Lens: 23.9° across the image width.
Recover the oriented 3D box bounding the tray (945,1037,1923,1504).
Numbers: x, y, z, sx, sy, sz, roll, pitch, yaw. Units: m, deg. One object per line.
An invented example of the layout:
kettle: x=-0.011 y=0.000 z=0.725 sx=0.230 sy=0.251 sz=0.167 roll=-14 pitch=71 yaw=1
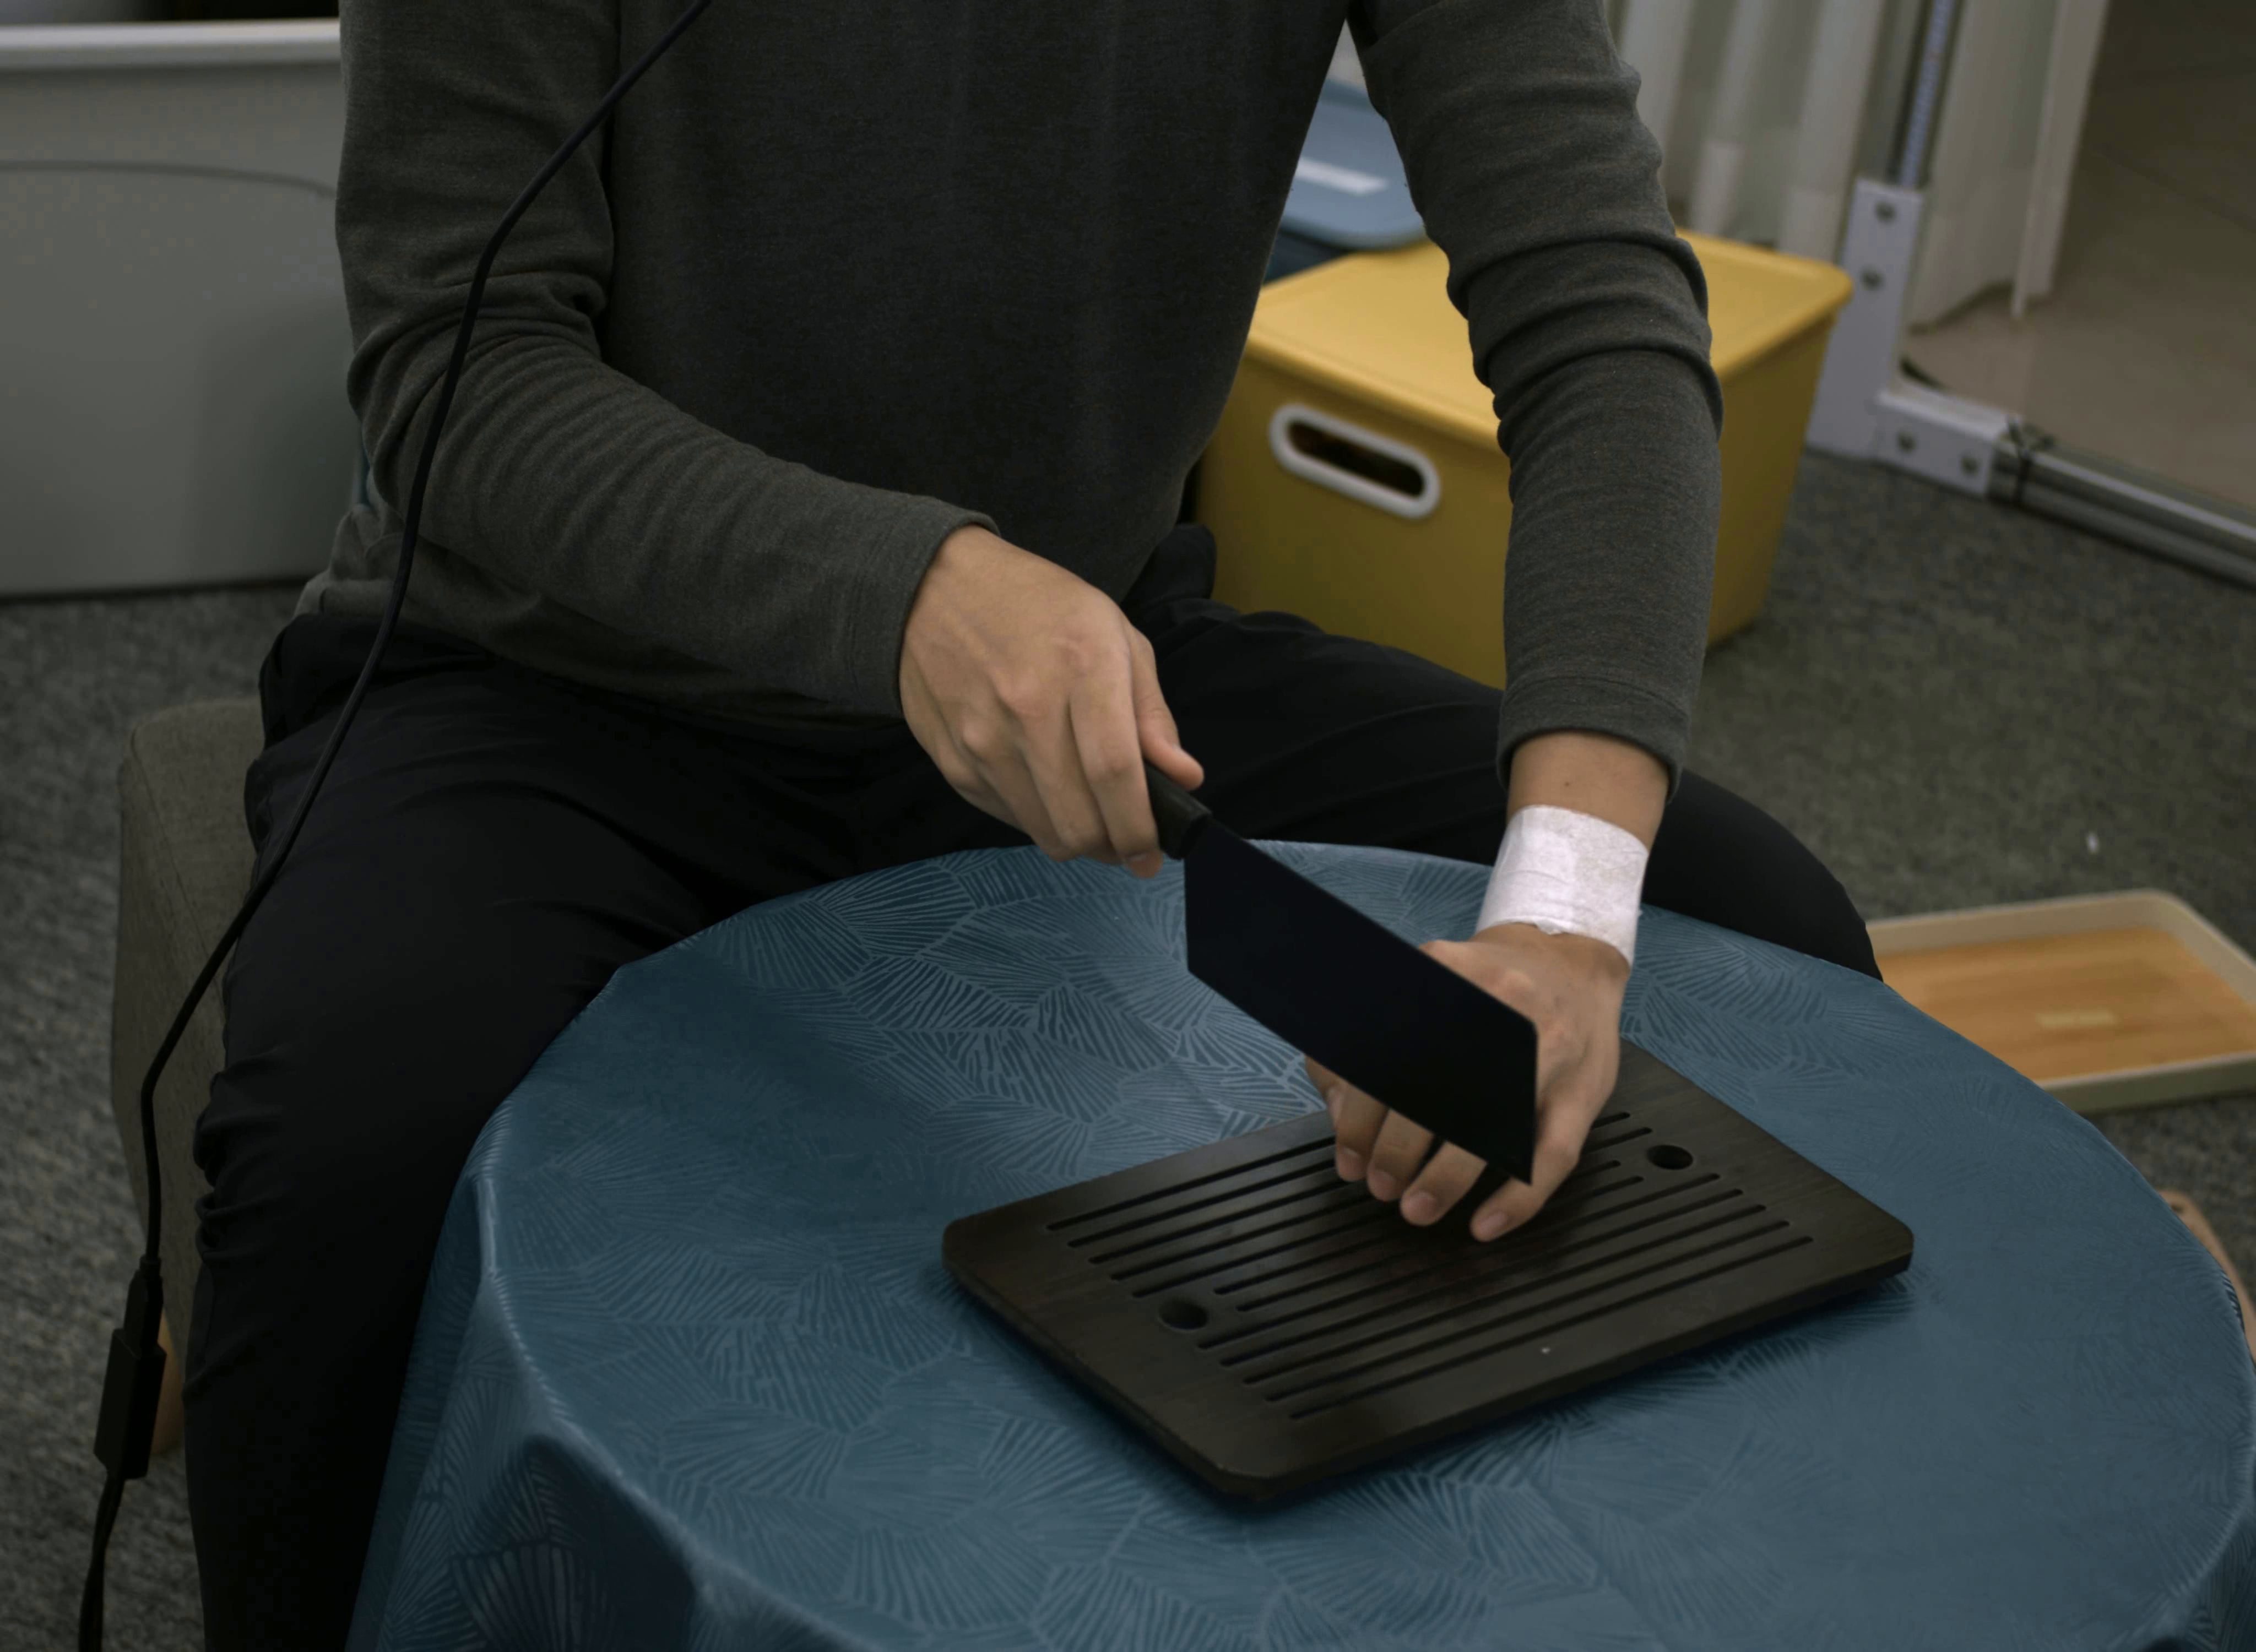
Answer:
tray: x=0.104 y=0.144 z=1.768 sx=0.304 sy=0.018 sz=0.171 roll=-14 pitch=32 yaw=-35

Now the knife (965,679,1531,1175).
knife: x=0.037 y=0.026 z=1.752 sx=0.021 sy=0.080 sz=0.305 roll=-20 pitch=38 yaw=-30
